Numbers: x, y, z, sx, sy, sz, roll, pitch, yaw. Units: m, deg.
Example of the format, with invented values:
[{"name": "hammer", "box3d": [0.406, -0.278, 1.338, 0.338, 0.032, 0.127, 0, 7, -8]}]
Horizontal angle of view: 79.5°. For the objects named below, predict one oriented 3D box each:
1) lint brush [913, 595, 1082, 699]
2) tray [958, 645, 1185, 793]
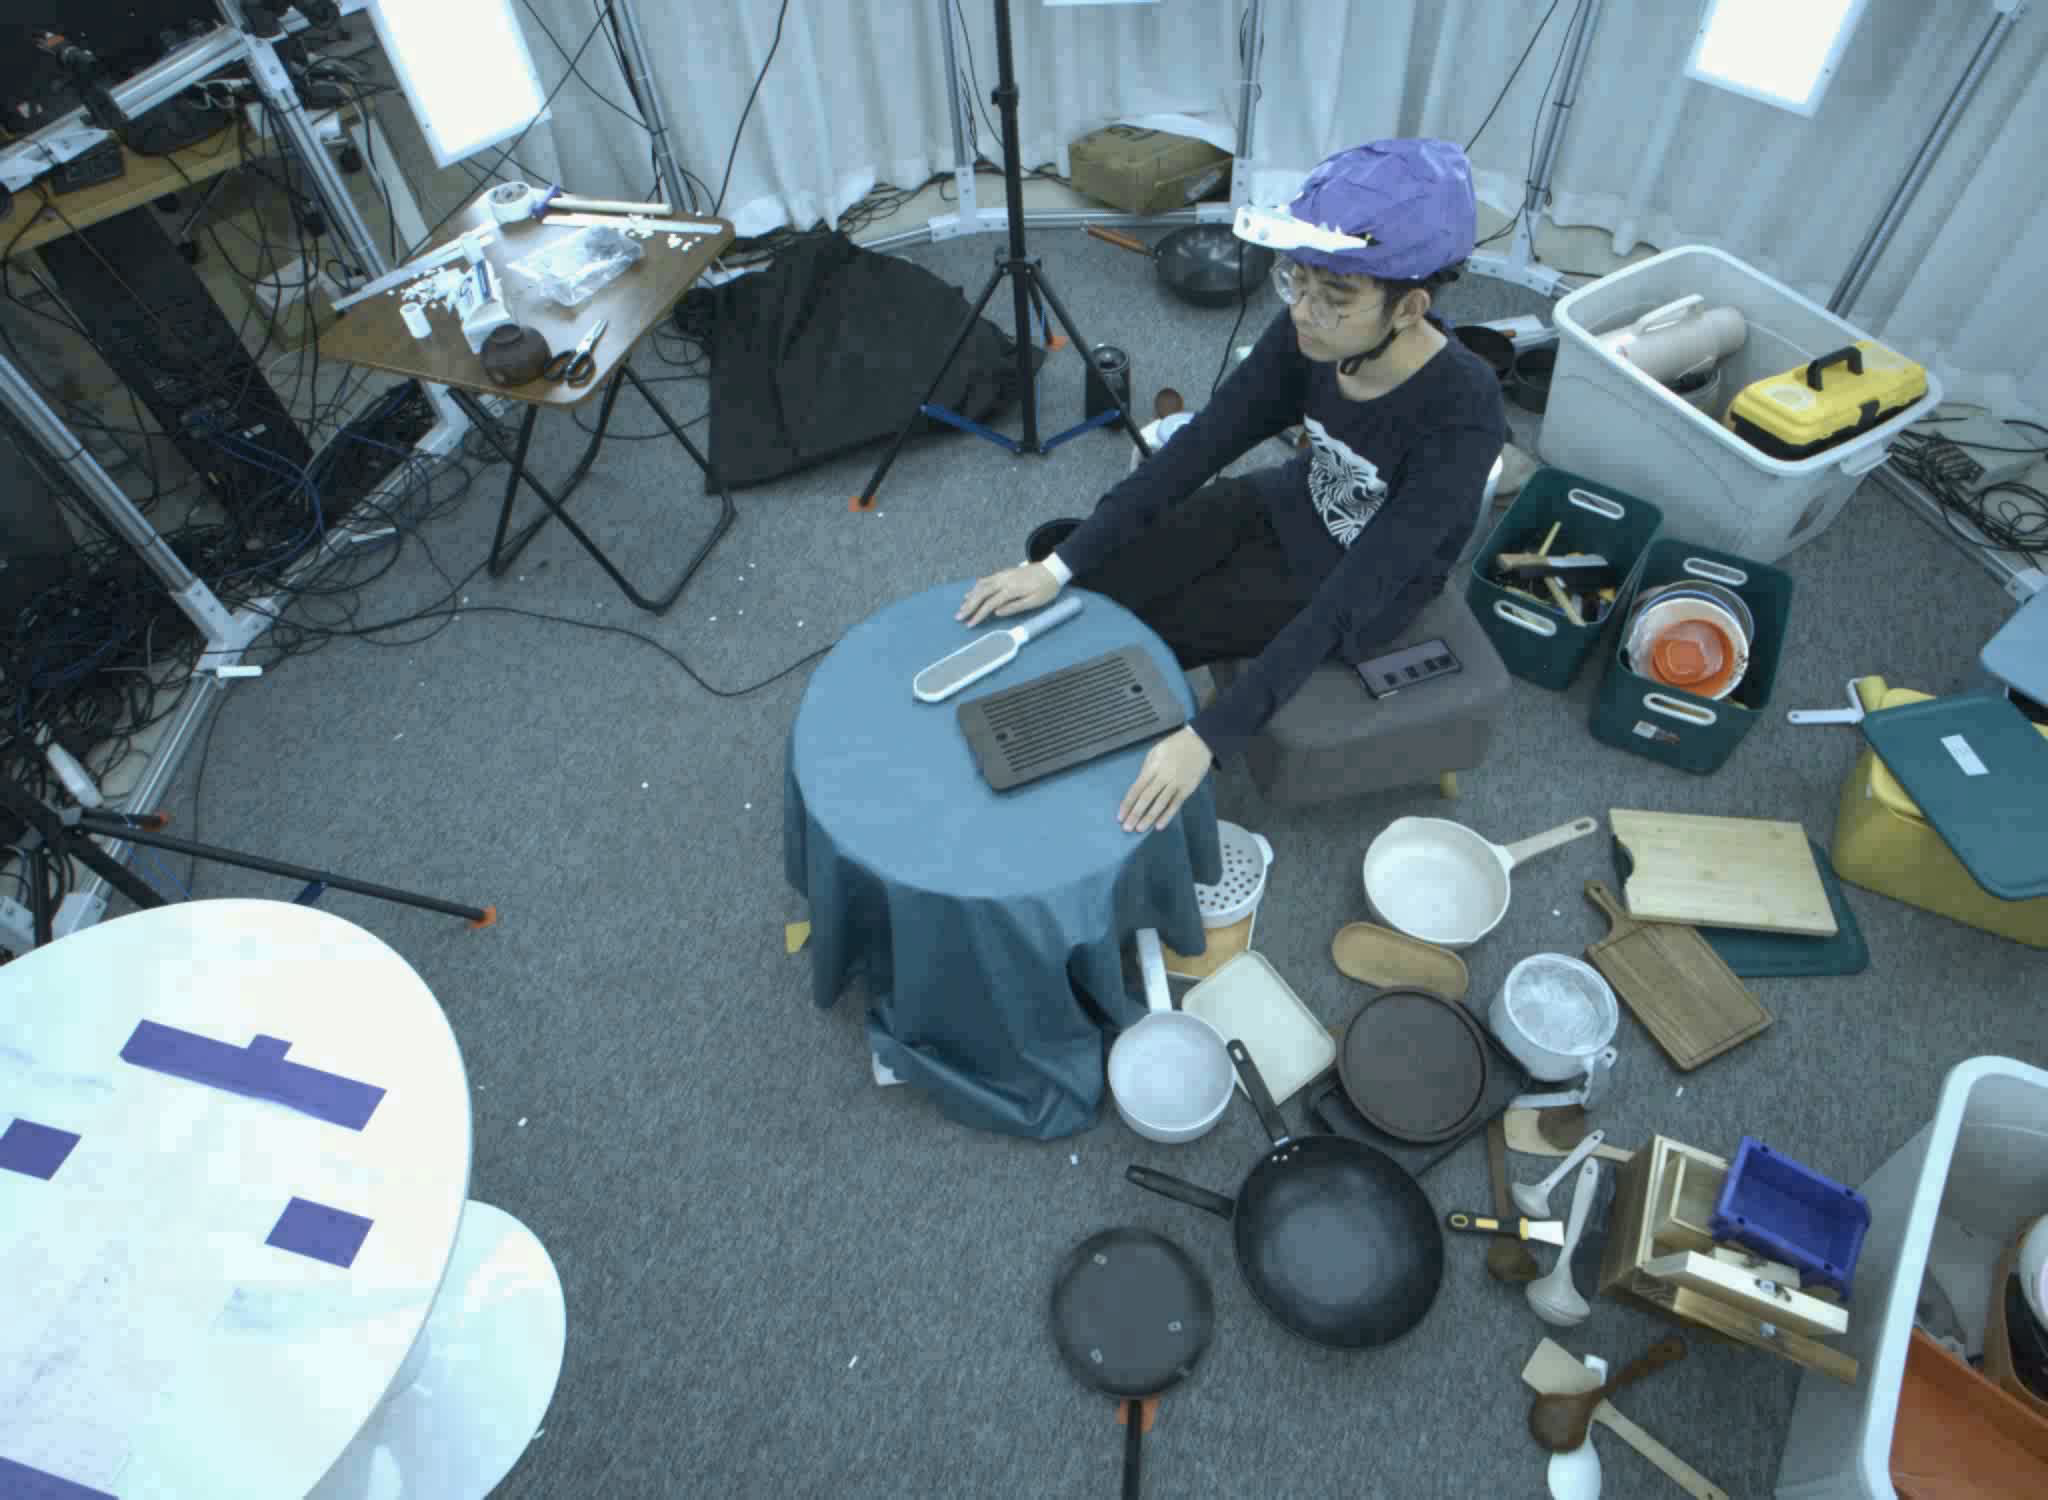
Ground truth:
[{"name": "lint brush", "box3d": [-0.037, -0.162, 1.895, 0.311, 0.021, 0.059, -31, 54, -19]}, {"name": "tray", "box3d": [0.069, -0.048, 1.817, 0.308, 0.019, 0.167, -20, 56, -13]}]
